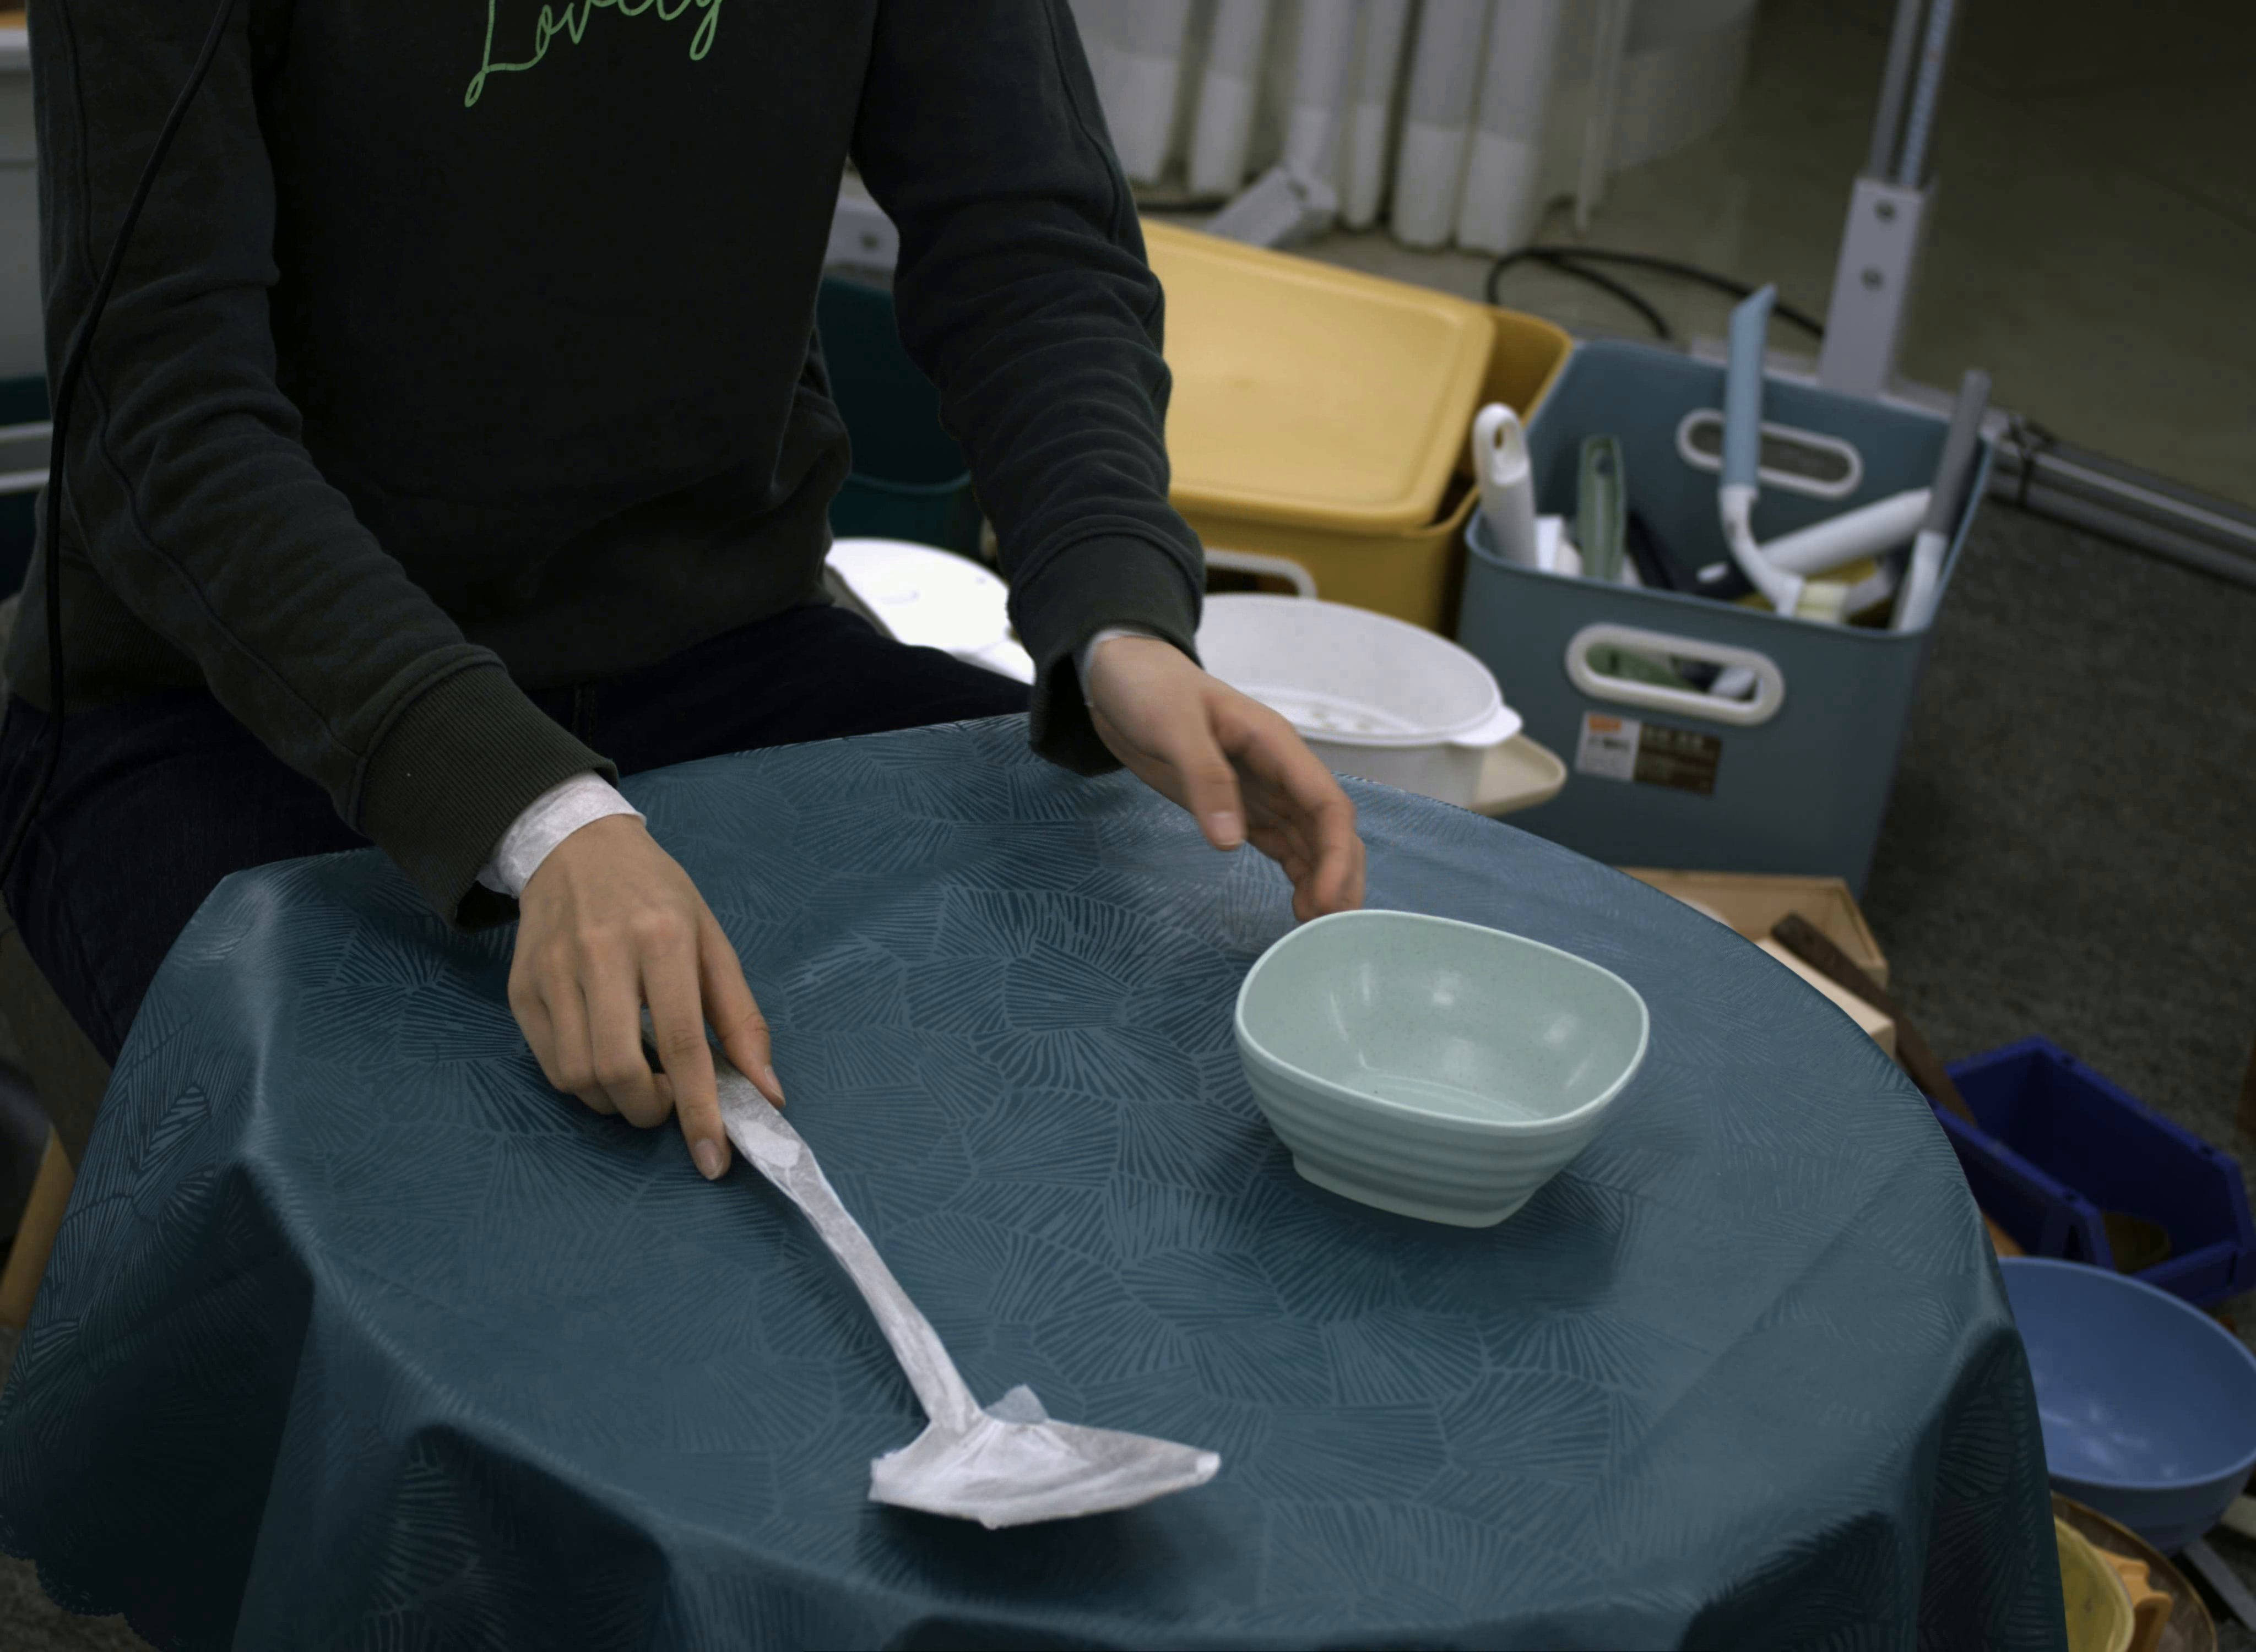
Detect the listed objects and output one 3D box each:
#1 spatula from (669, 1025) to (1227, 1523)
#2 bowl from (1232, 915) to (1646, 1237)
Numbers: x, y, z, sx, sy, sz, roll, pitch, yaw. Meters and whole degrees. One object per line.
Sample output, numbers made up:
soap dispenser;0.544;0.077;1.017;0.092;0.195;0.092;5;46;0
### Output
spatula;-0.083;0.136;1.715;0.098;0.044;0.368;-9;30;-23
bowl;0.103;0.092;1.830;0.151;0.058;0.152;7;27;-4
